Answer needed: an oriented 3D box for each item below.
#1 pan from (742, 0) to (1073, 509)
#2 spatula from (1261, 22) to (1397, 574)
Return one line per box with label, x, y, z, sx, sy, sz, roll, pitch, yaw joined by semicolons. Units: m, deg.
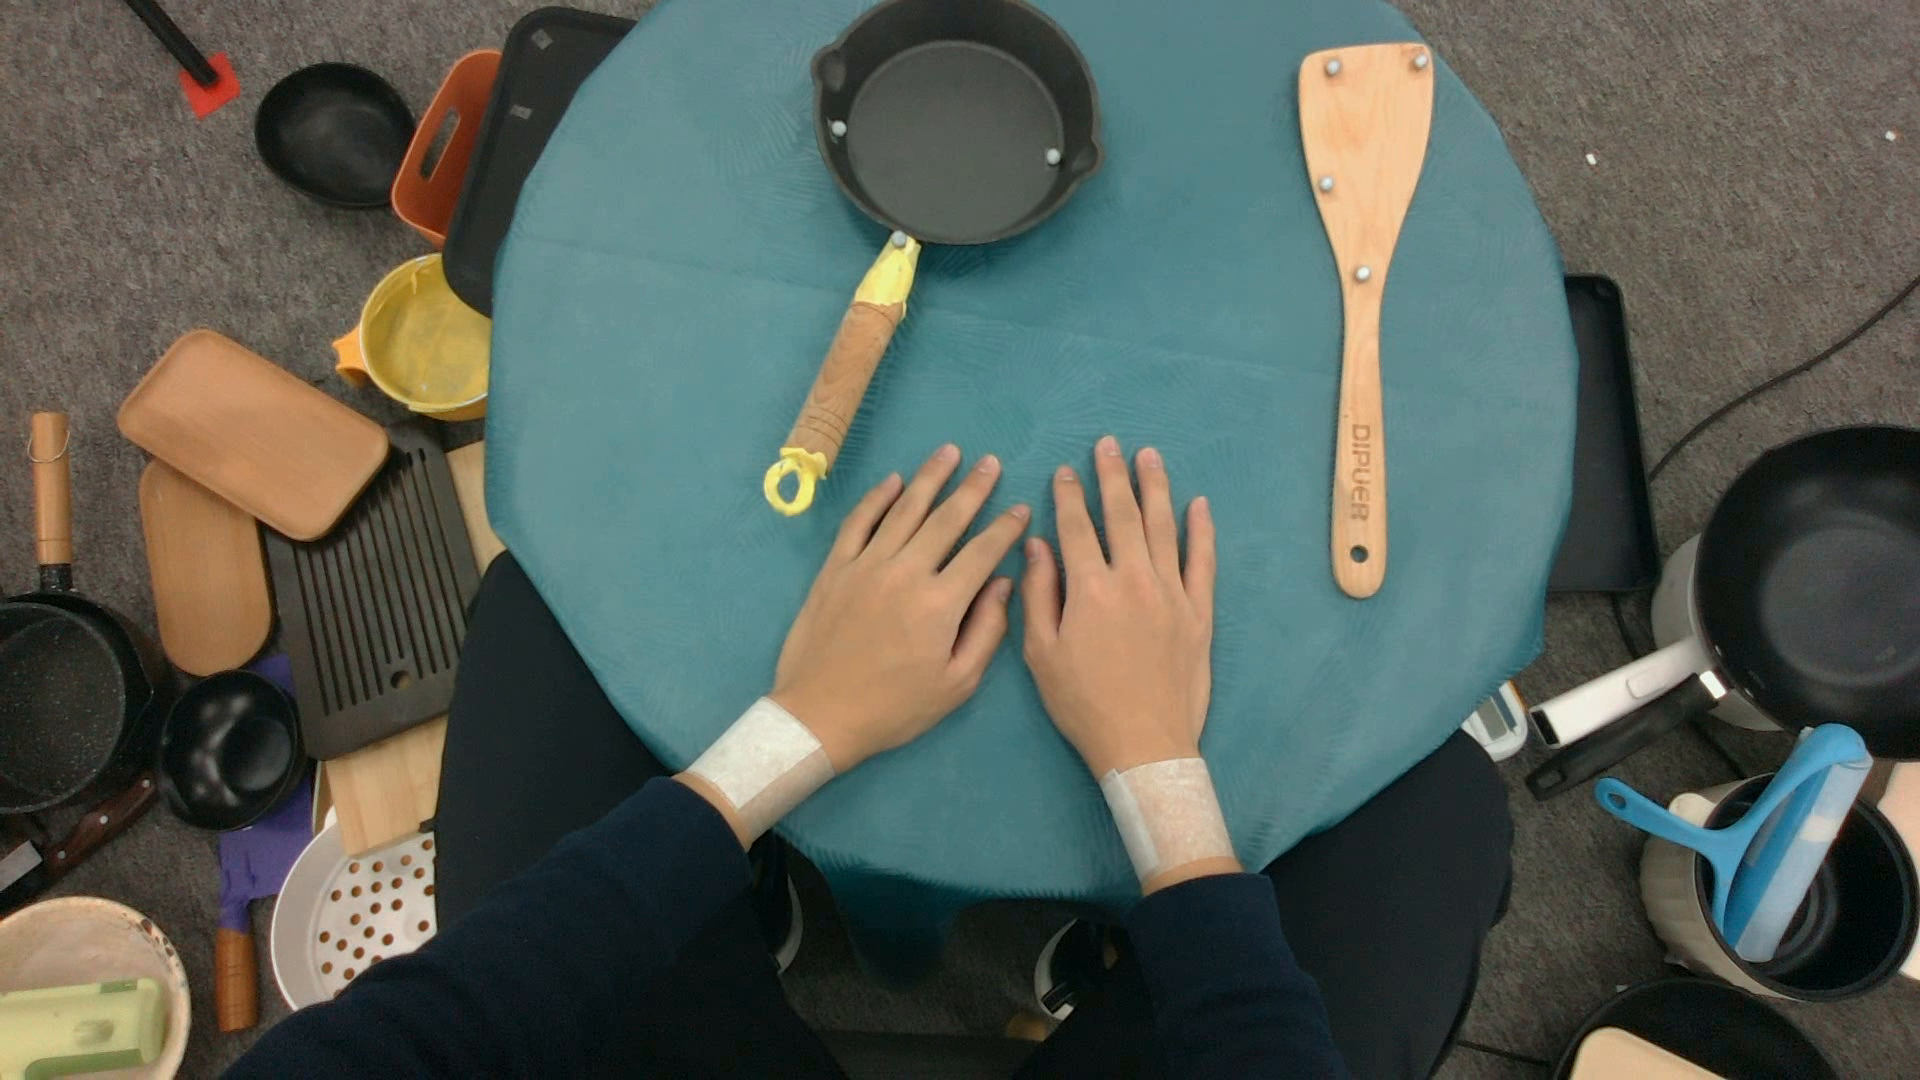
pan;-0.048;-0.162;0.741;0.169;0.049;0.325;21;74;2
spatula;0.208;-0.142;0.767;0.080;0.016;0.328;3;76;-1
